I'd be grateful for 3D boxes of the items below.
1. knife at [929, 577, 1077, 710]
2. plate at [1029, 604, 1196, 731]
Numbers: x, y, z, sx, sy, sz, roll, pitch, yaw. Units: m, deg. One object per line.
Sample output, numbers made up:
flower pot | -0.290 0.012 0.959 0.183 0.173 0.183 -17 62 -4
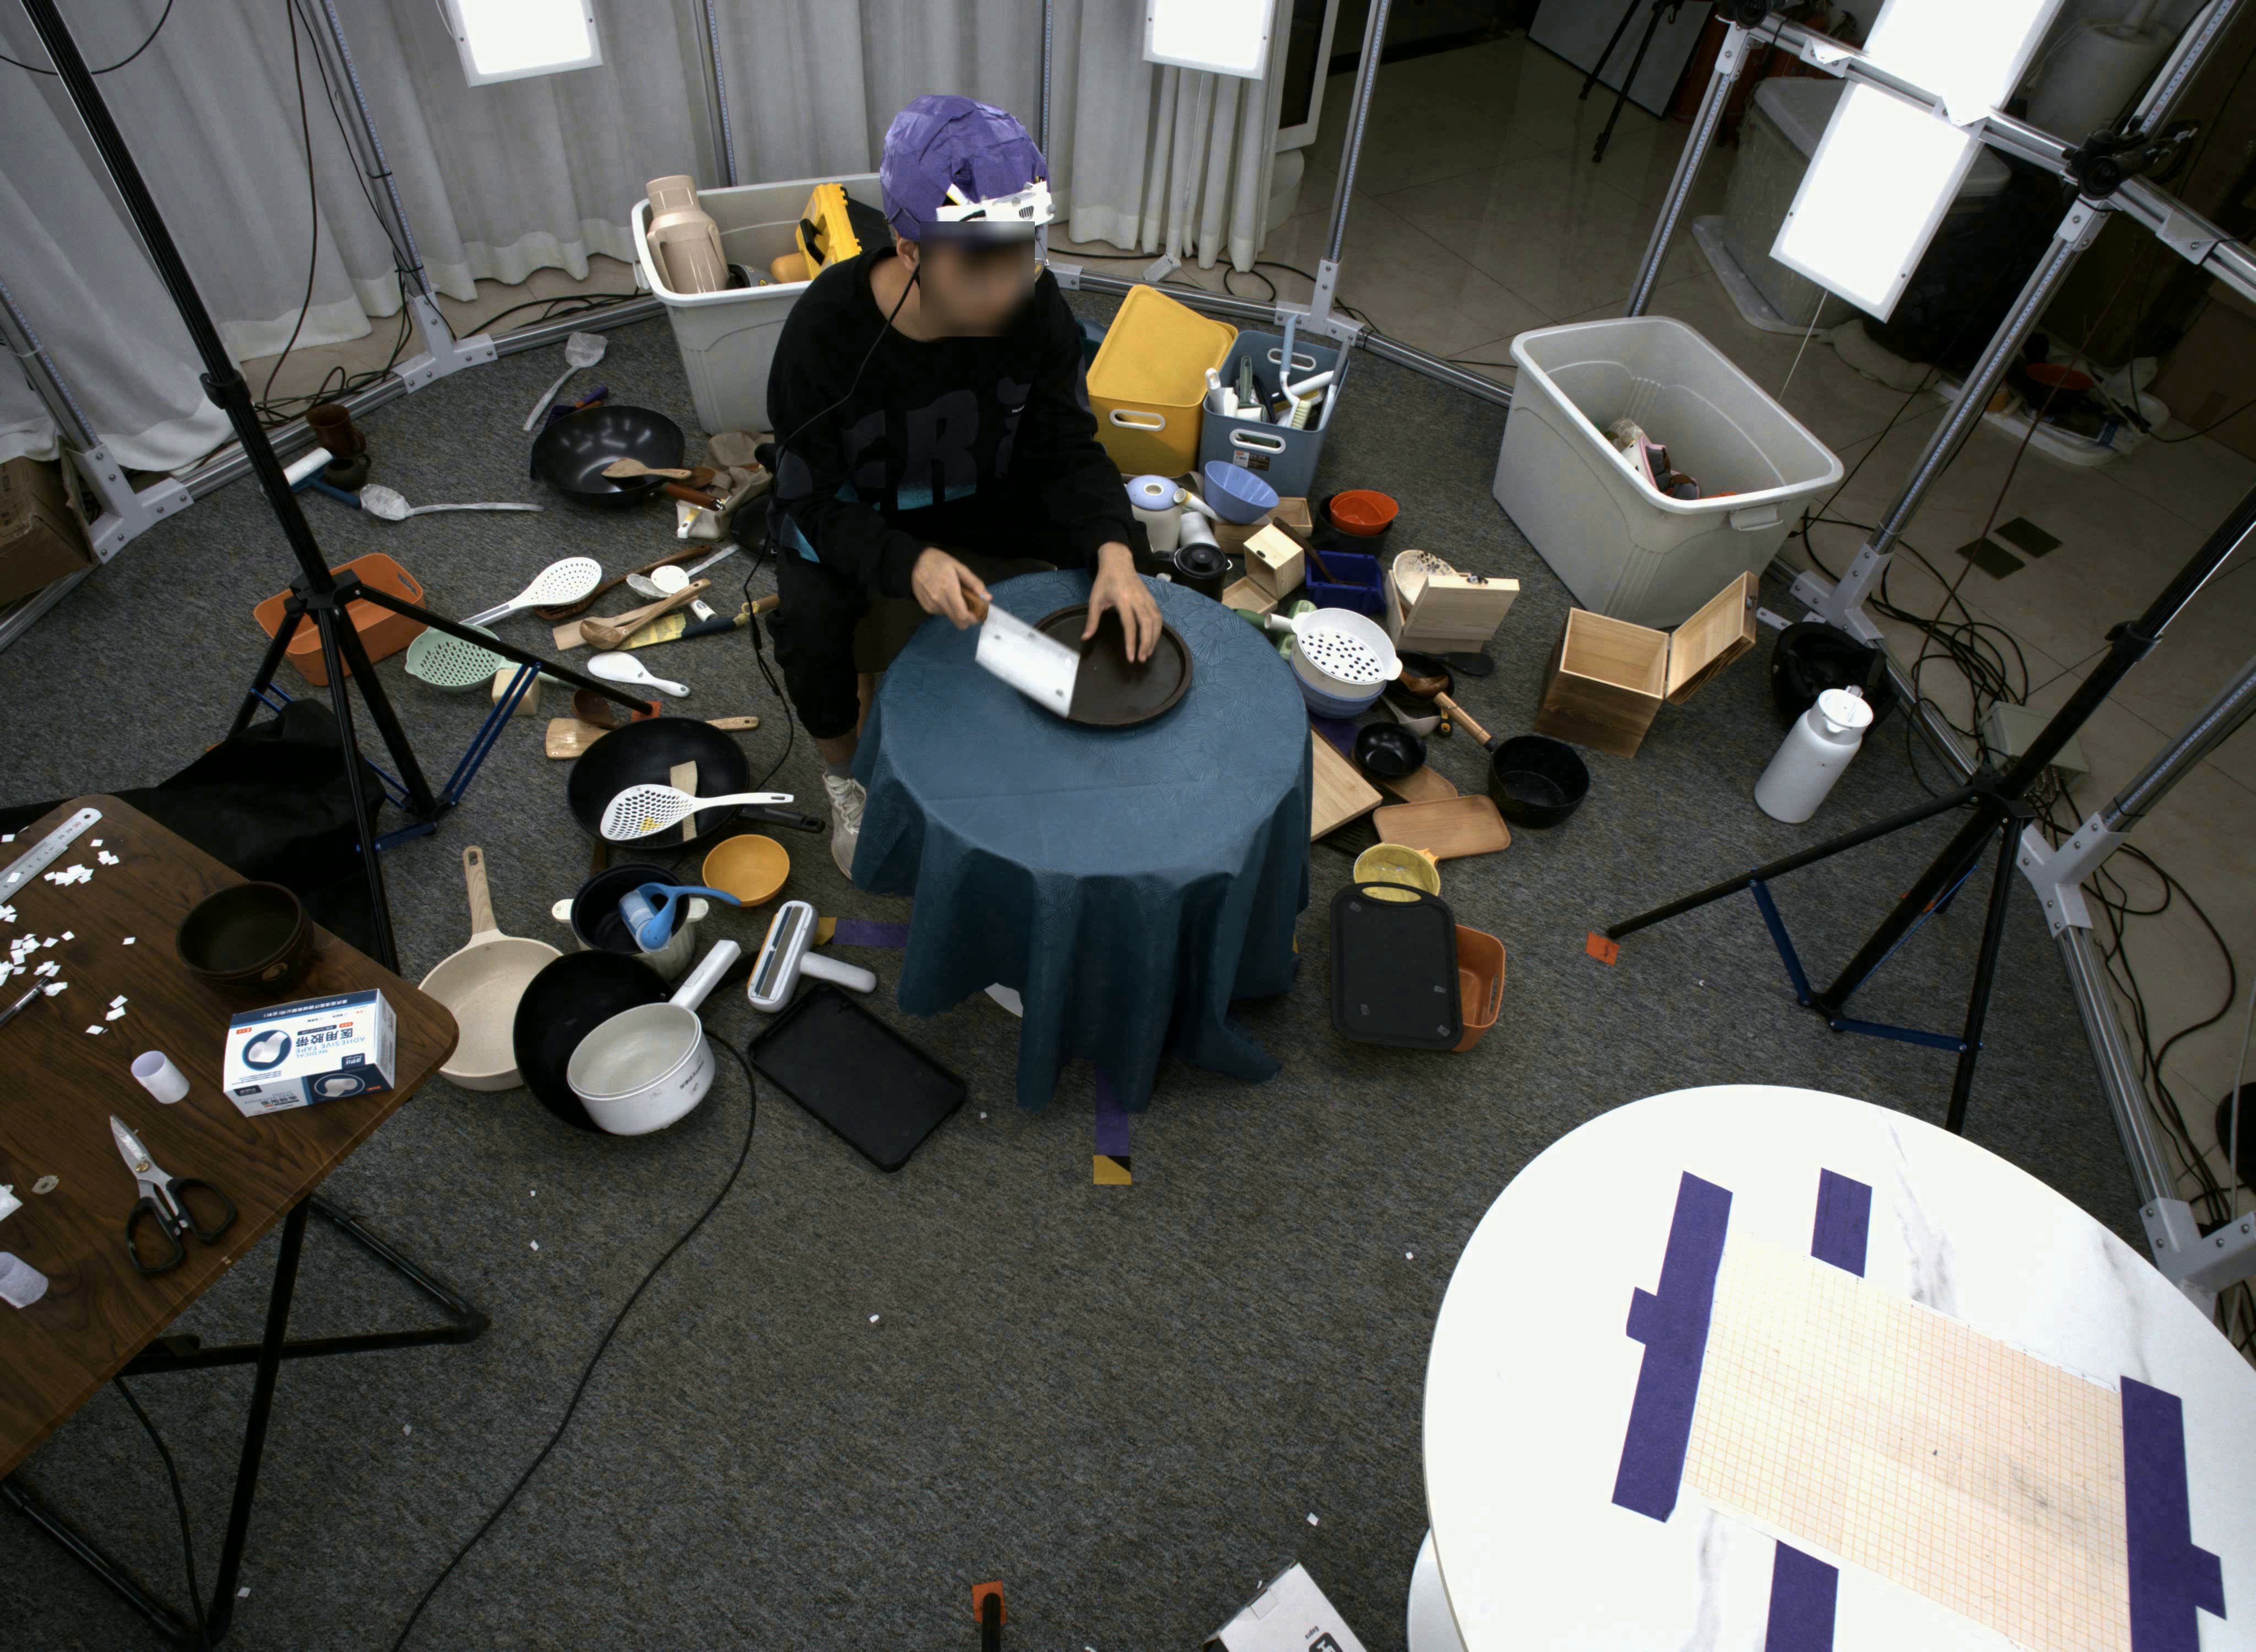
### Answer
knife | -0.176 -0.247 1.749 0.021 0.091 0.311 -14 38 -44
plate | -0.029 -0.230 1.850 0.254 0.028 0.261 1 51 -2
